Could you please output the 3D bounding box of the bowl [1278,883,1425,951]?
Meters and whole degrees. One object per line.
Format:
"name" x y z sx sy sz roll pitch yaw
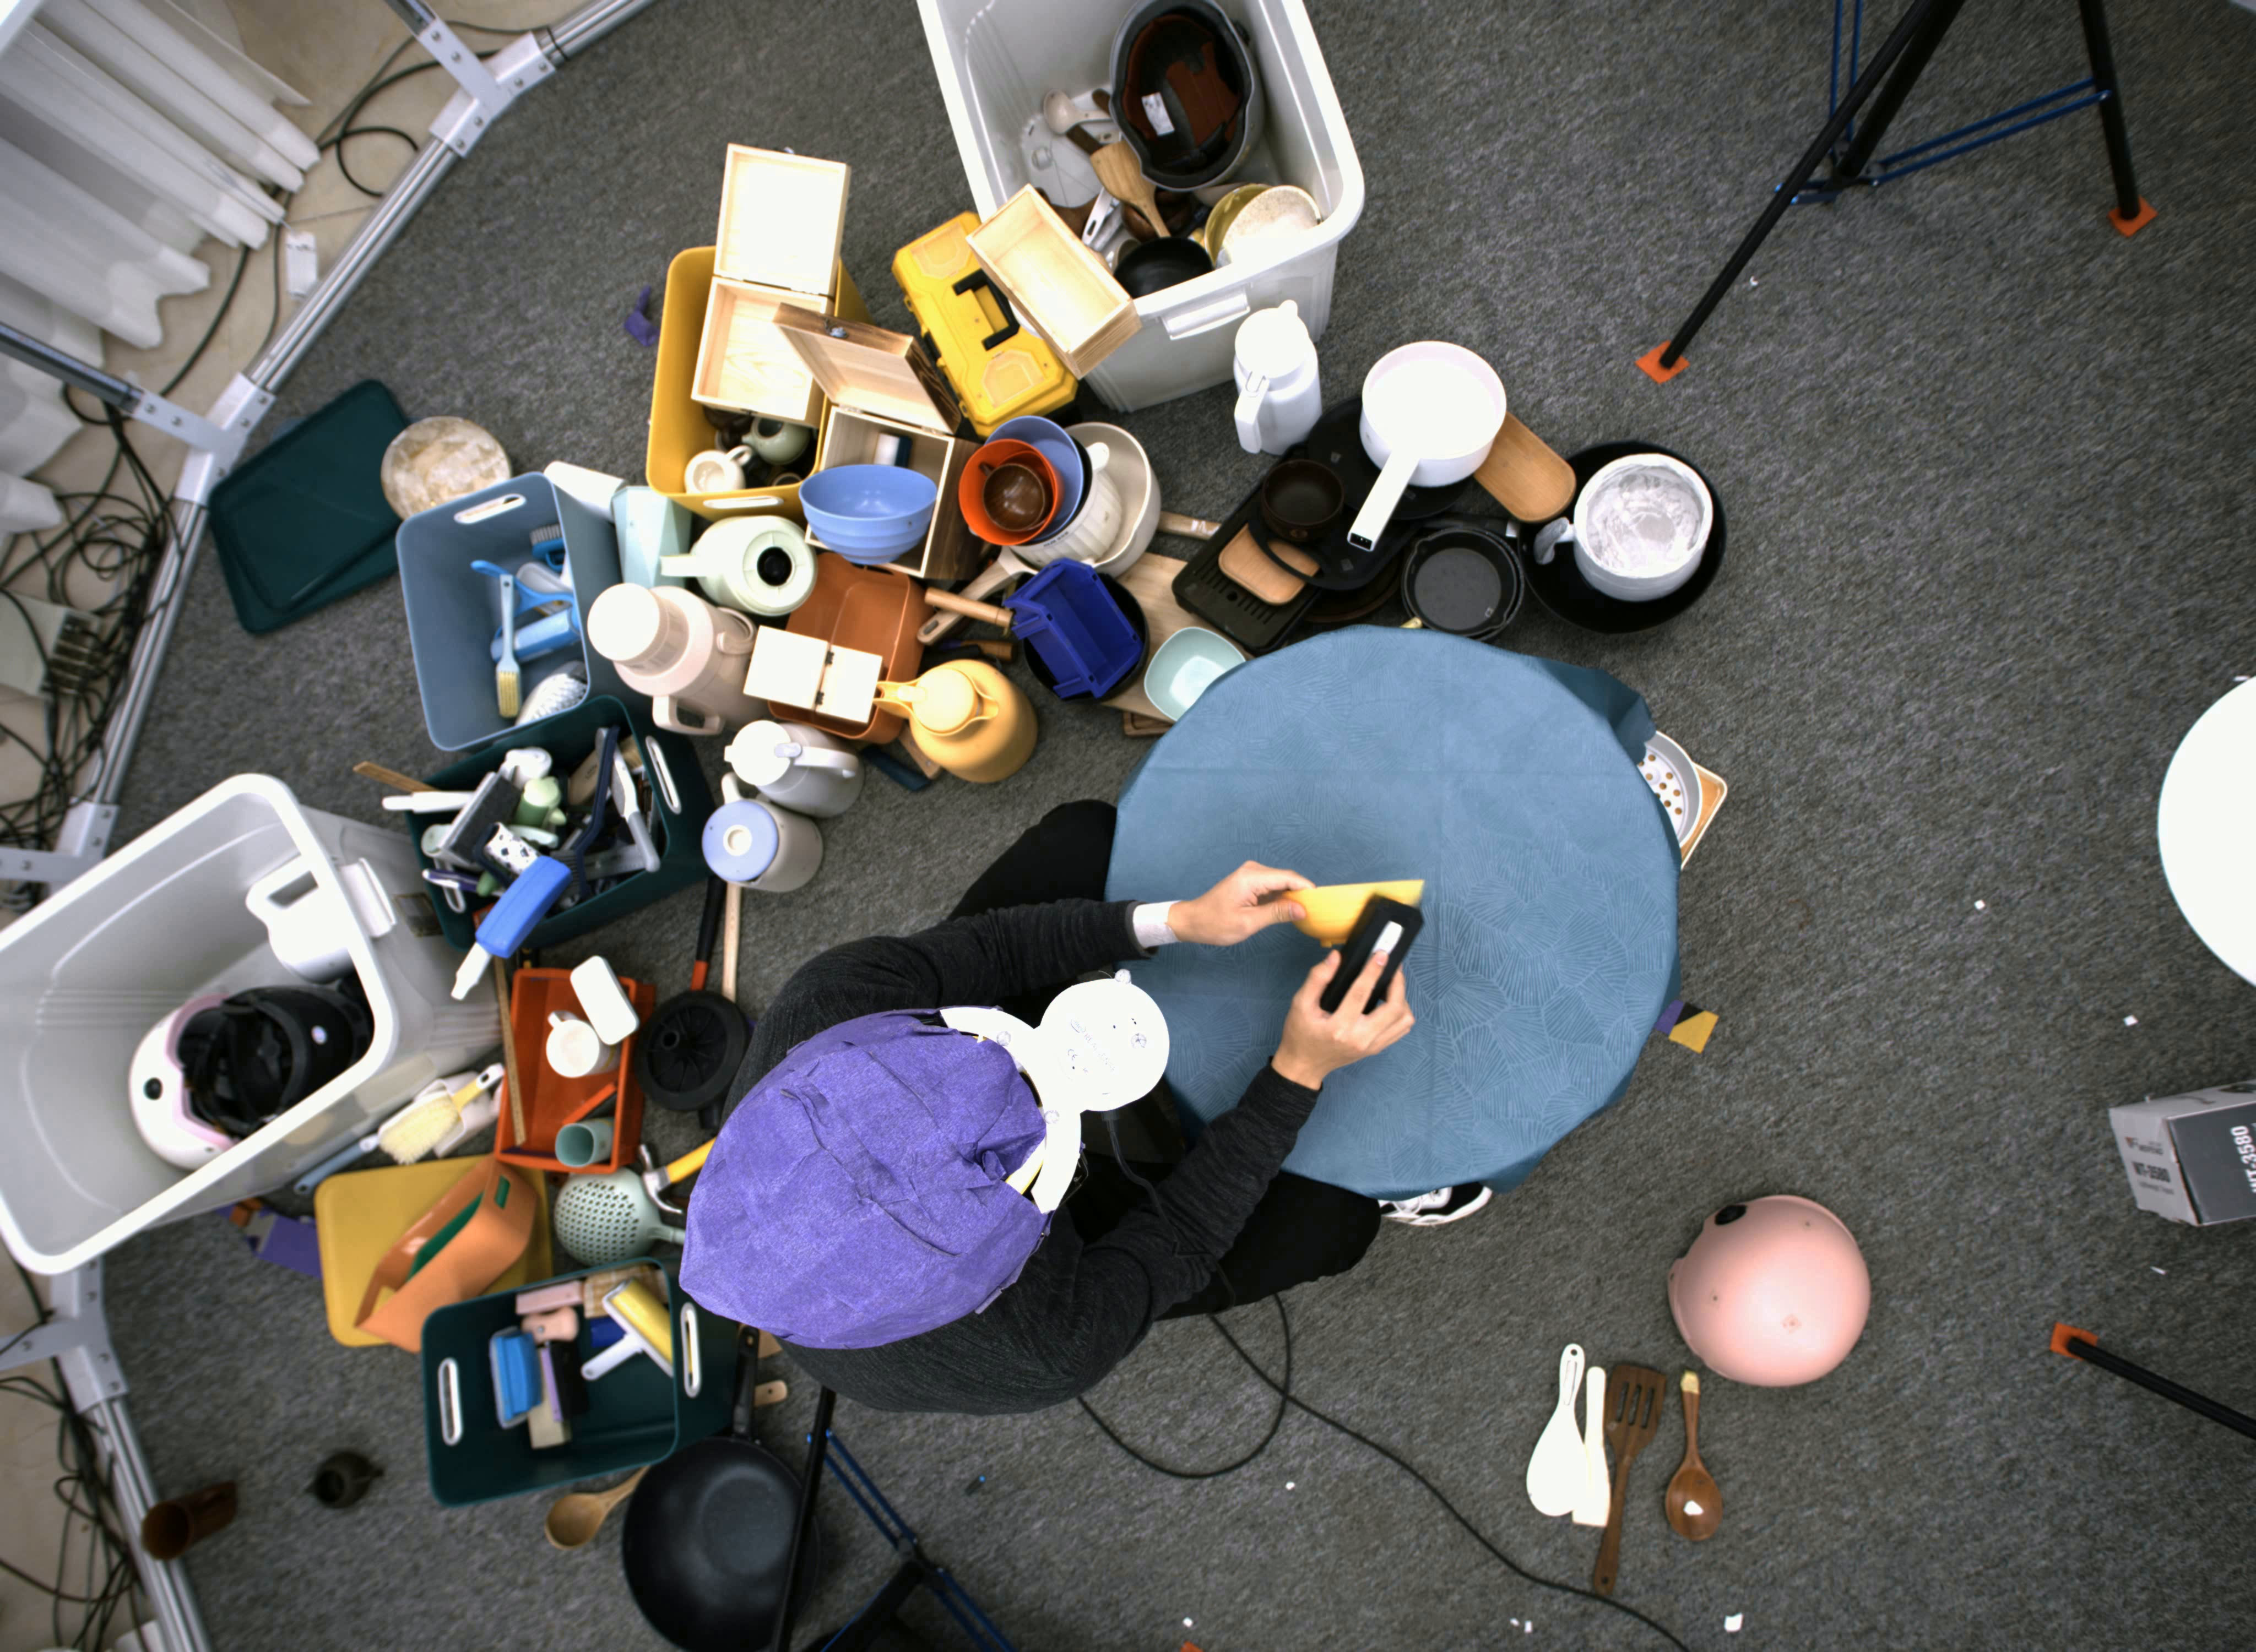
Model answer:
"bowl" 0.222 0.090 1.361 0.146 0.145 0.060 -5 87 9

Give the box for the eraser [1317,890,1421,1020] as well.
"eraser" 0.226 0.121 1.306 0.053 0.030 0.128 18 118 -7
